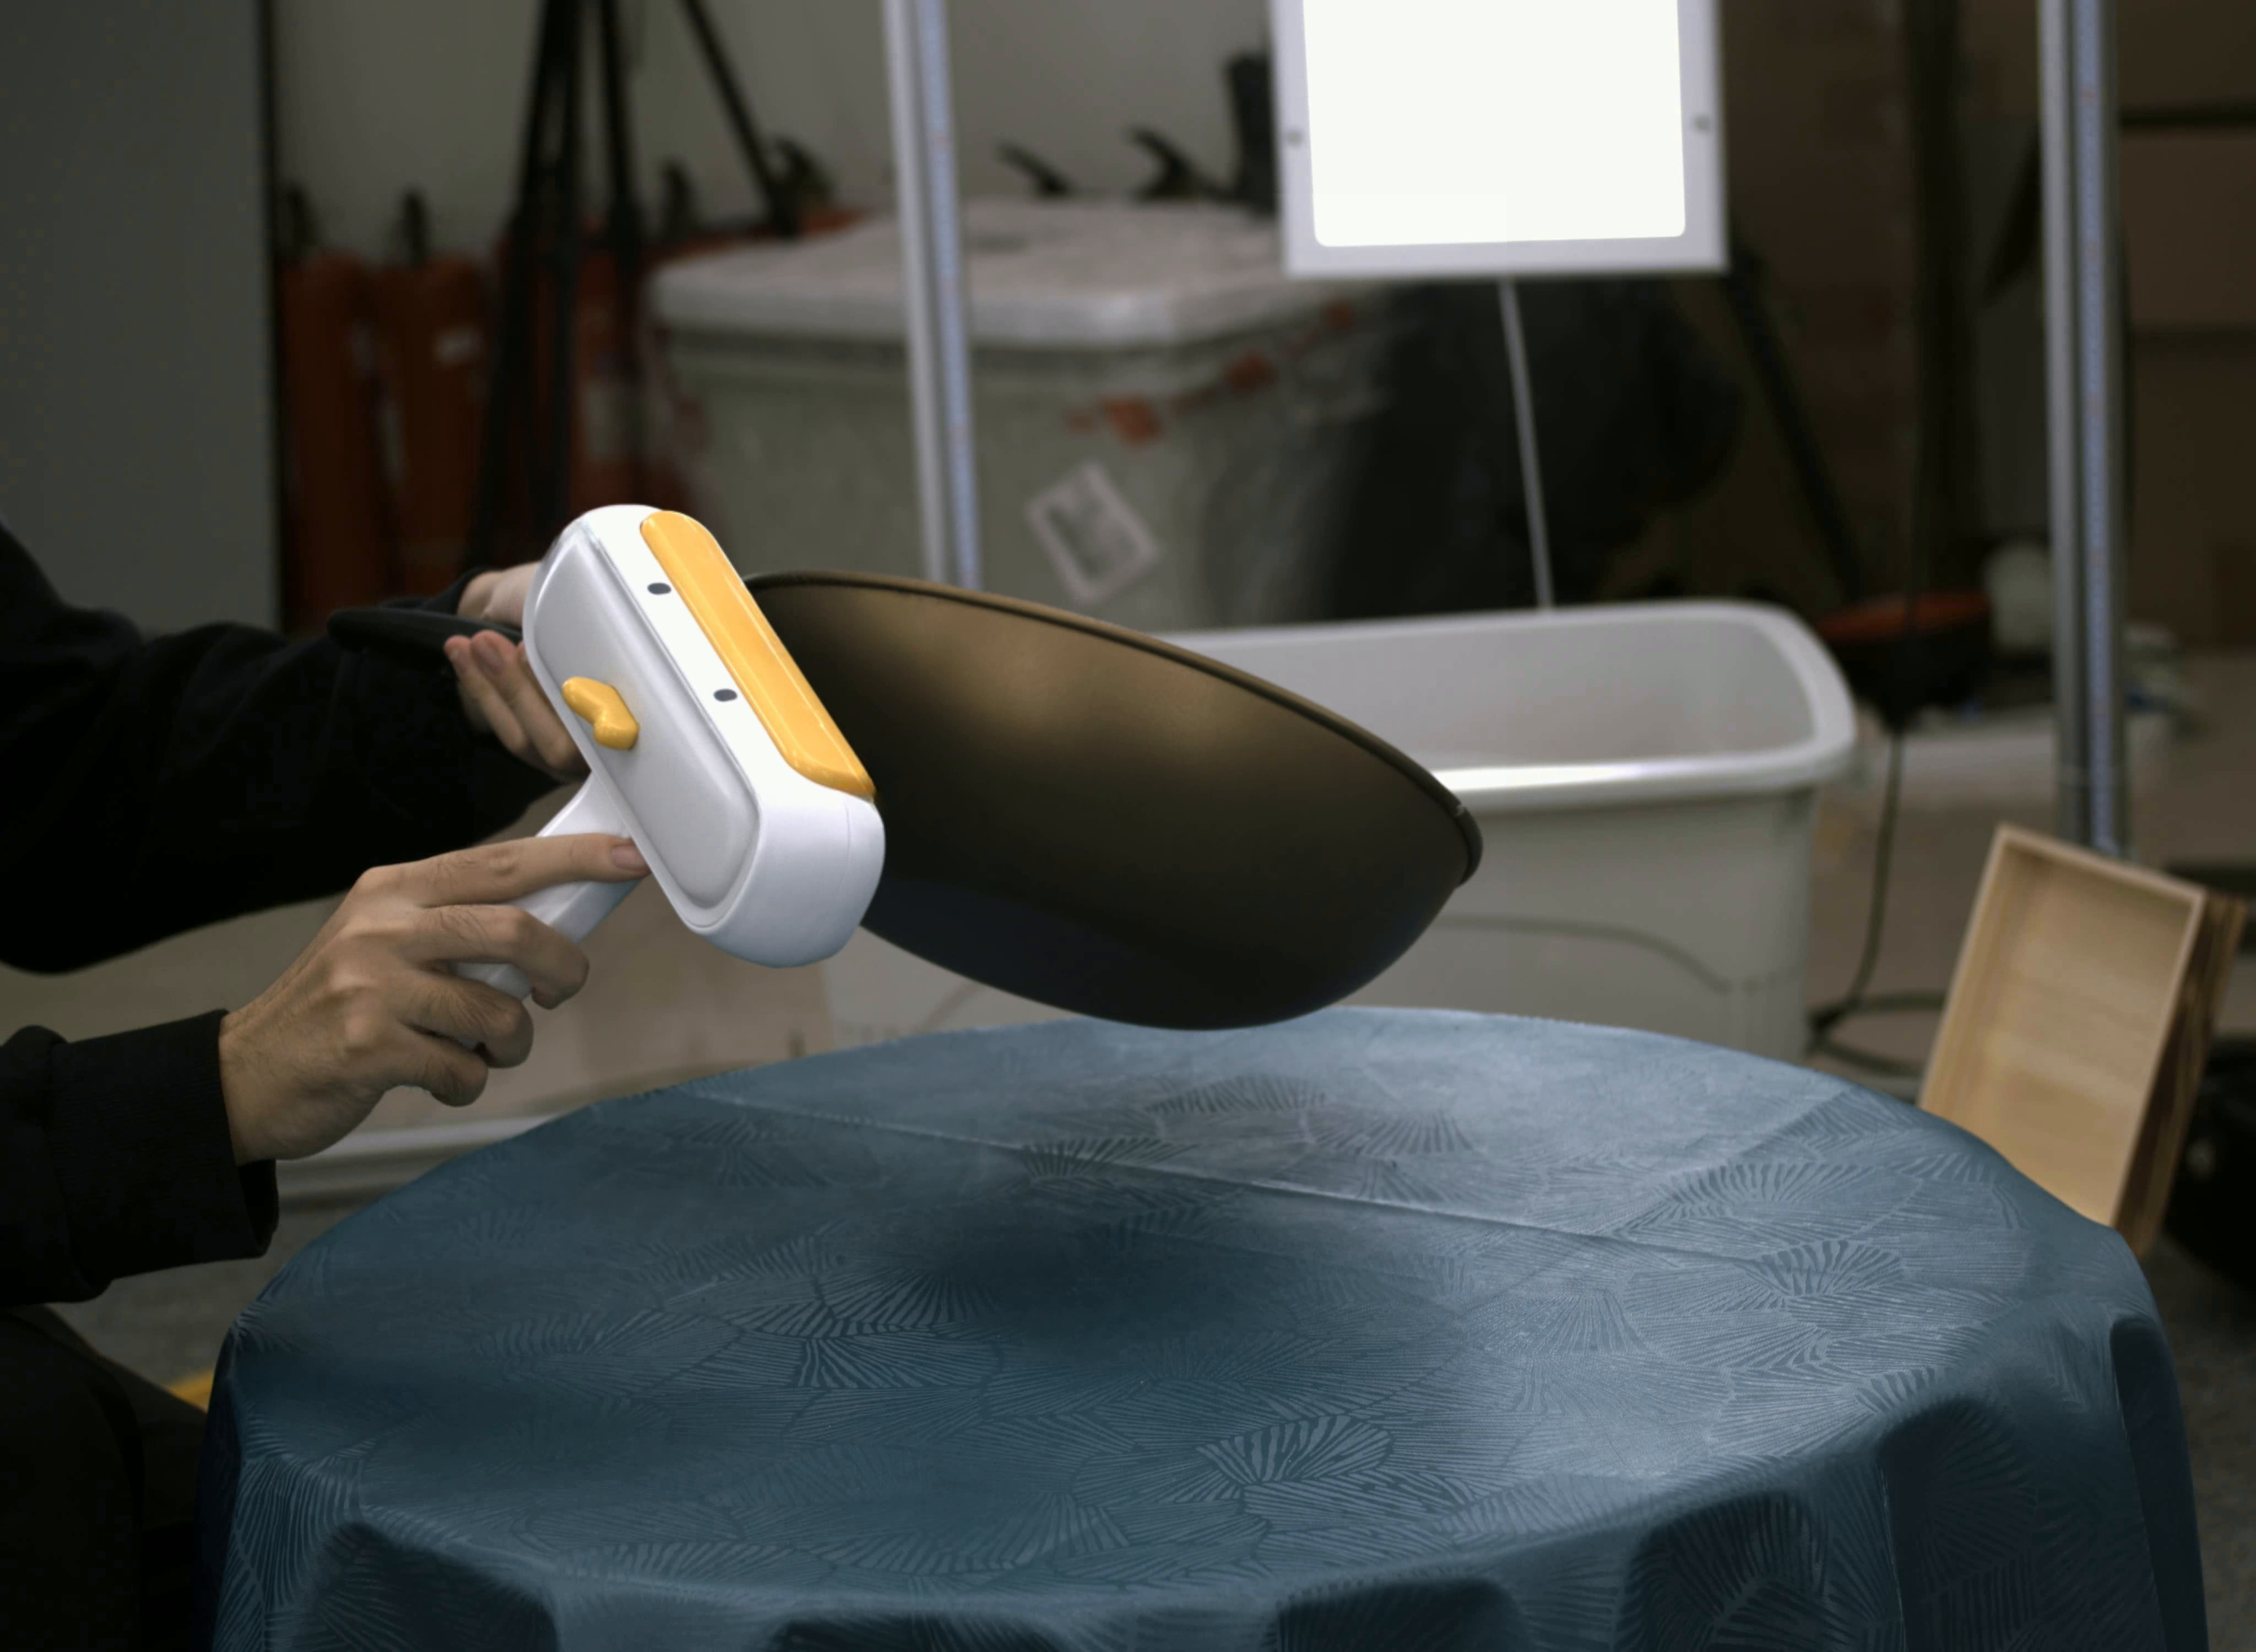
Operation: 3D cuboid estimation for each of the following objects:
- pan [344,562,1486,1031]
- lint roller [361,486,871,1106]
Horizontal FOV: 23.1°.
[{"bbox_3d":[-0.101,-0.009,1.920,0.472,0.086,0.284,9,-17,31],"label":"pan"},{"bbox_3d":[-0.176,0.010,1.764,0.072,0.194,0.195,14,26,-43],"label":"lint roller"}]
